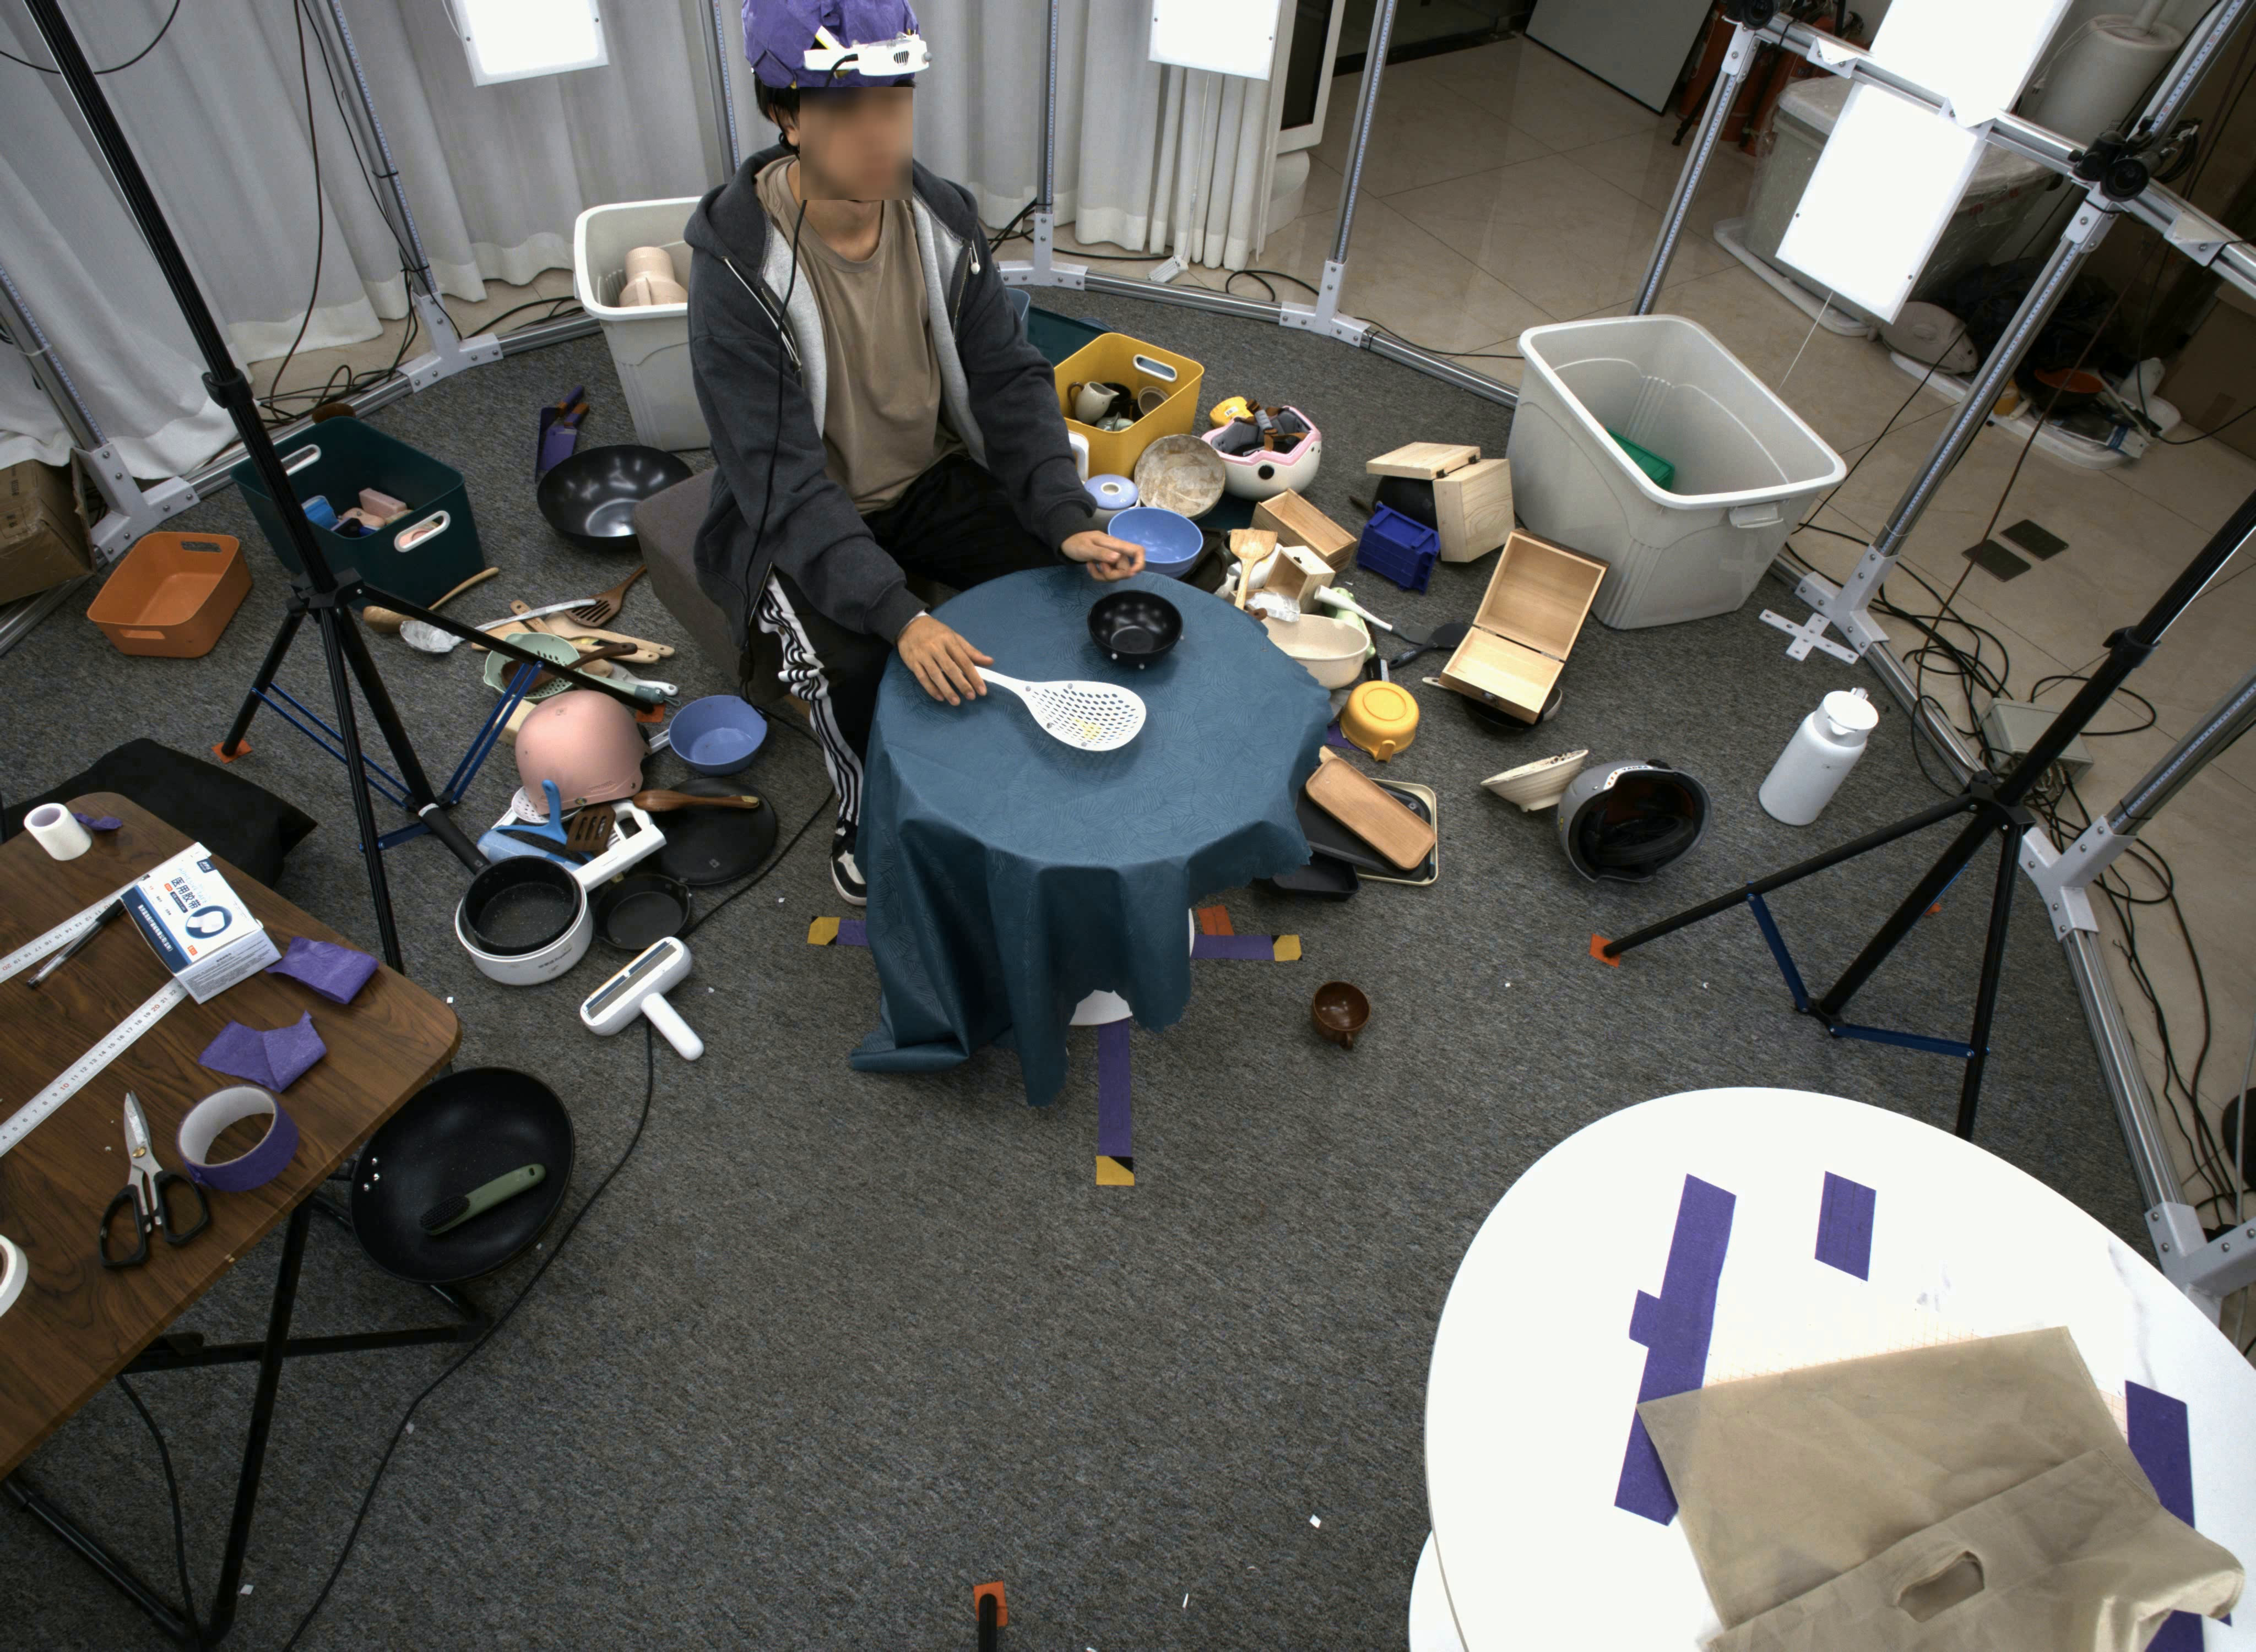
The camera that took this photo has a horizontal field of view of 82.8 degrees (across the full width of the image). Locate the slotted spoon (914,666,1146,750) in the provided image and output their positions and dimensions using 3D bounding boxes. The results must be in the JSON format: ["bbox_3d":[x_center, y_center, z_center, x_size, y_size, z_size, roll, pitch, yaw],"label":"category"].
[{"bbox_3d":[-0.143,-0.182,1.788,0.350,0.049,0.139,21,52,15],"label":"slotted spoon"}]

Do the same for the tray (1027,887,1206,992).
[{"bbox_3d":[-0.019,0.194,2.202,0.300,0.027,0.196,3,49,-3],"label":"tray"}]
